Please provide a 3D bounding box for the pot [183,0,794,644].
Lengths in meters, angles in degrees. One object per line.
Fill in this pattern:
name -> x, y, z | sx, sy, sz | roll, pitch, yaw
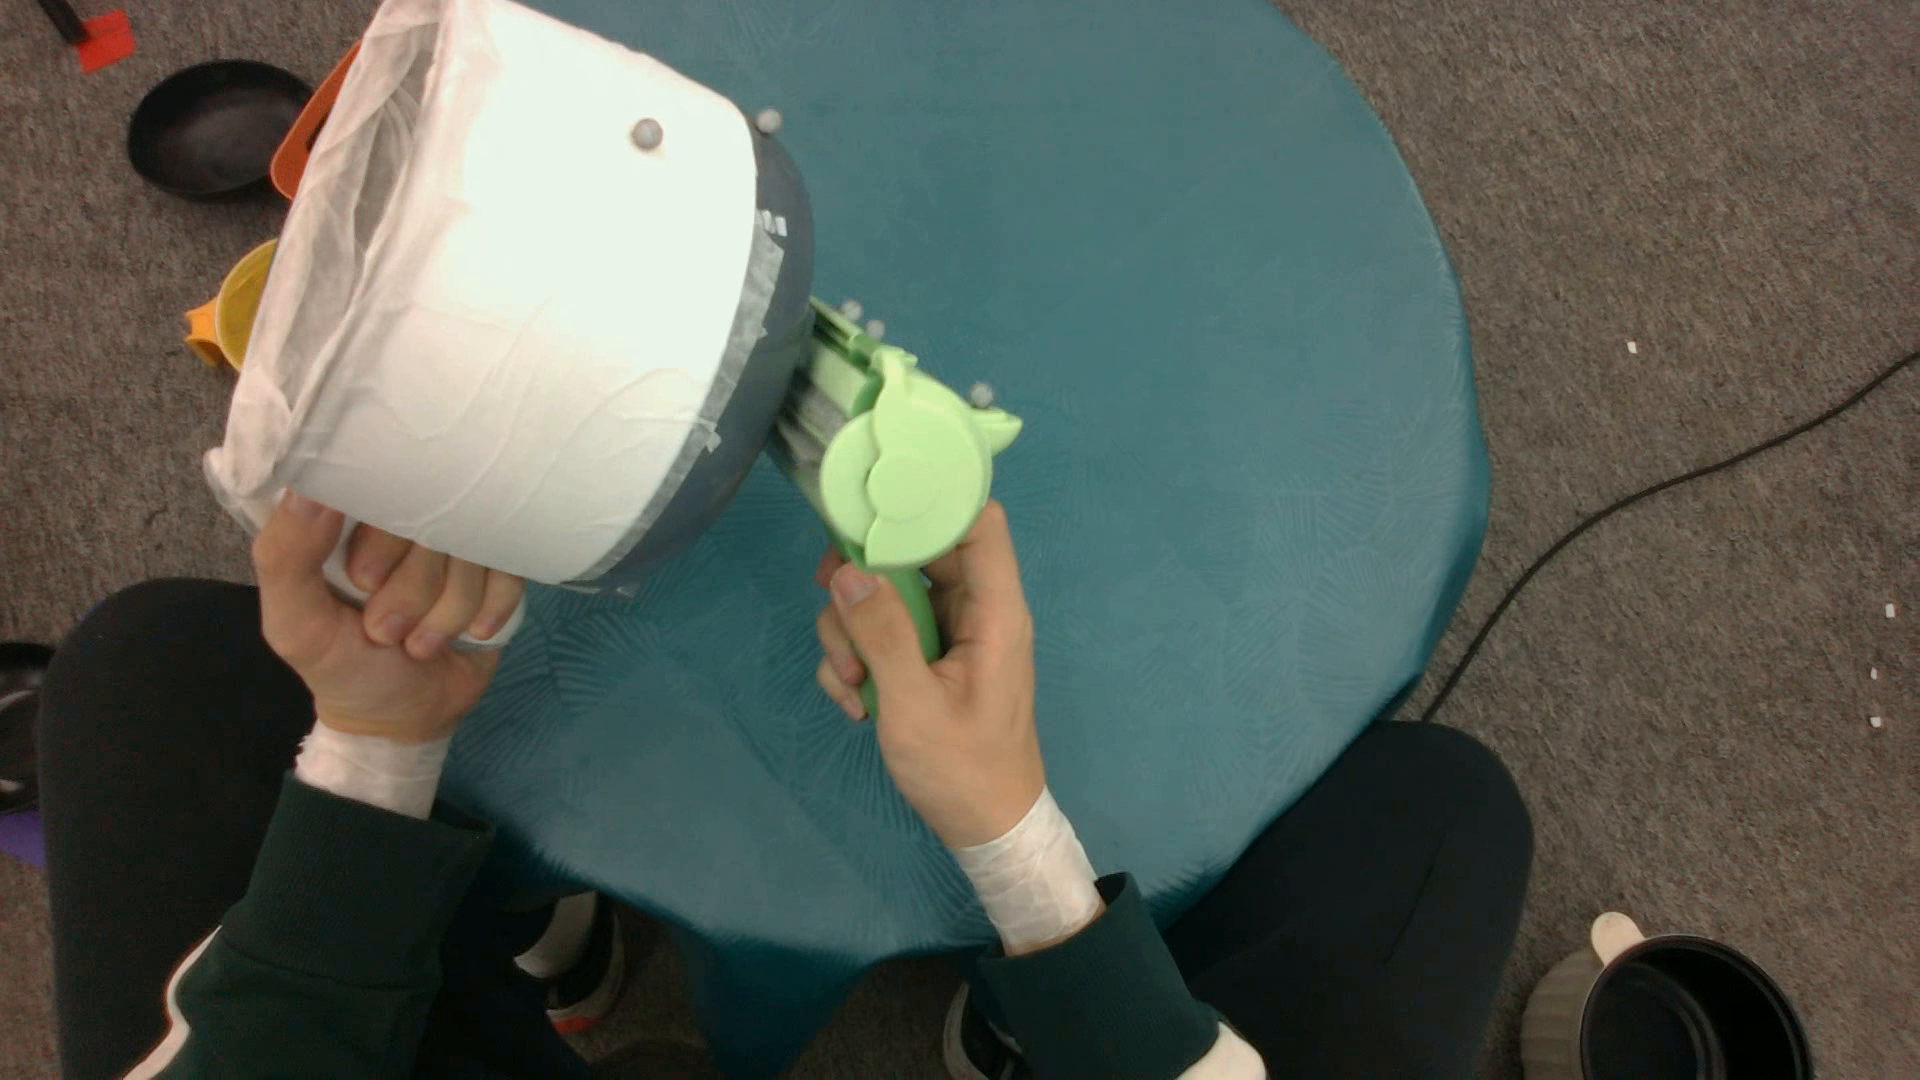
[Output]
pot -> -0.165, -0.061, 0.468 | 0.137, 0.233, 0.179 | 20, 28, -36

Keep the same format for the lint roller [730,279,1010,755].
lint roller -> -0.024, -0.008, 0.510 | 0.082, 0.198, 0.183 | -29, 115, -11
